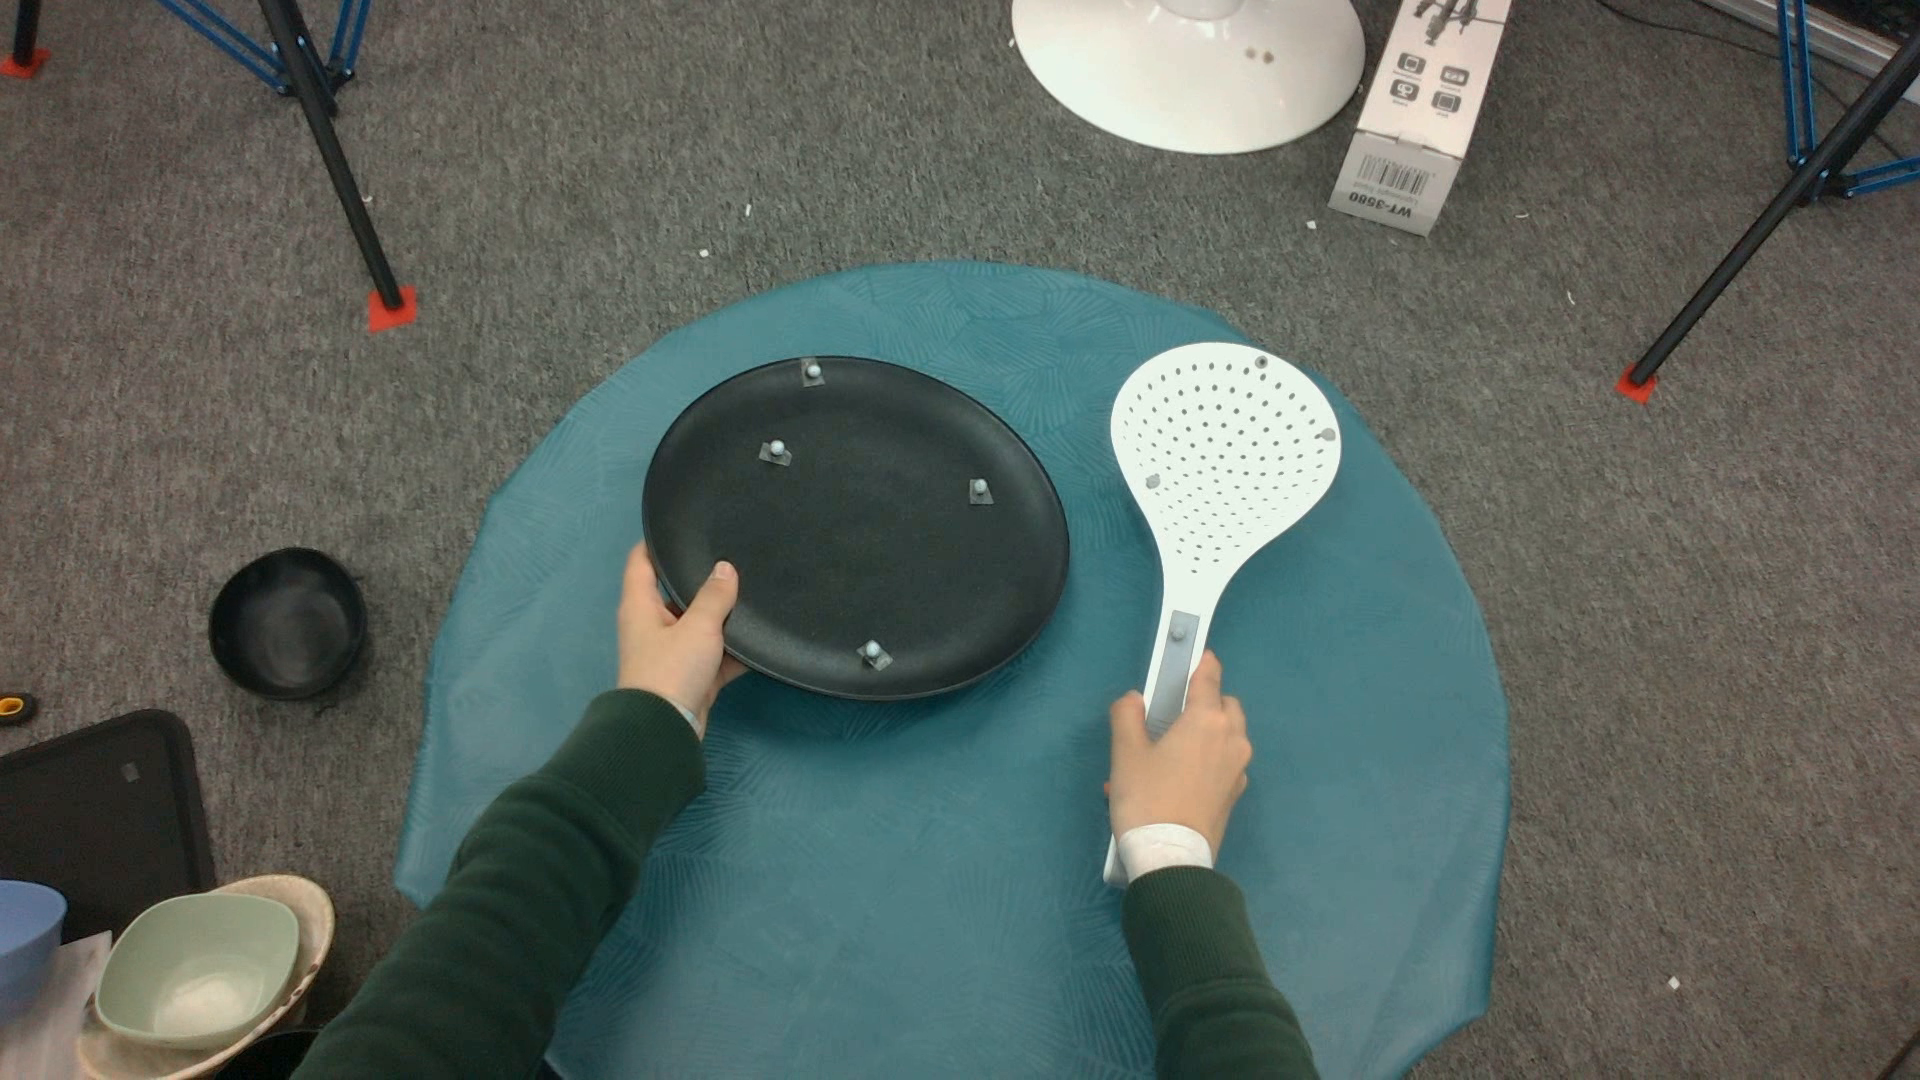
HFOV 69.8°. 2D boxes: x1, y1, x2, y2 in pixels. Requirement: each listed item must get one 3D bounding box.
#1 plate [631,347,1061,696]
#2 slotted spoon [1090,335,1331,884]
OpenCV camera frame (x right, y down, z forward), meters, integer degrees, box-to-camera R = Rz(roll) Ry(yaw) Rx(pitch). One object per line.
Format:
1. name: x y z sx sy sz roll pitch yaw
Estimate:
1. plate: -0.062 -0.014 0.782 0.244 0.023 0.245 9 52 -11
2. slotted spoon: 0.125 0.025 0.774 0.136 0.045 0.351 13 55 8
